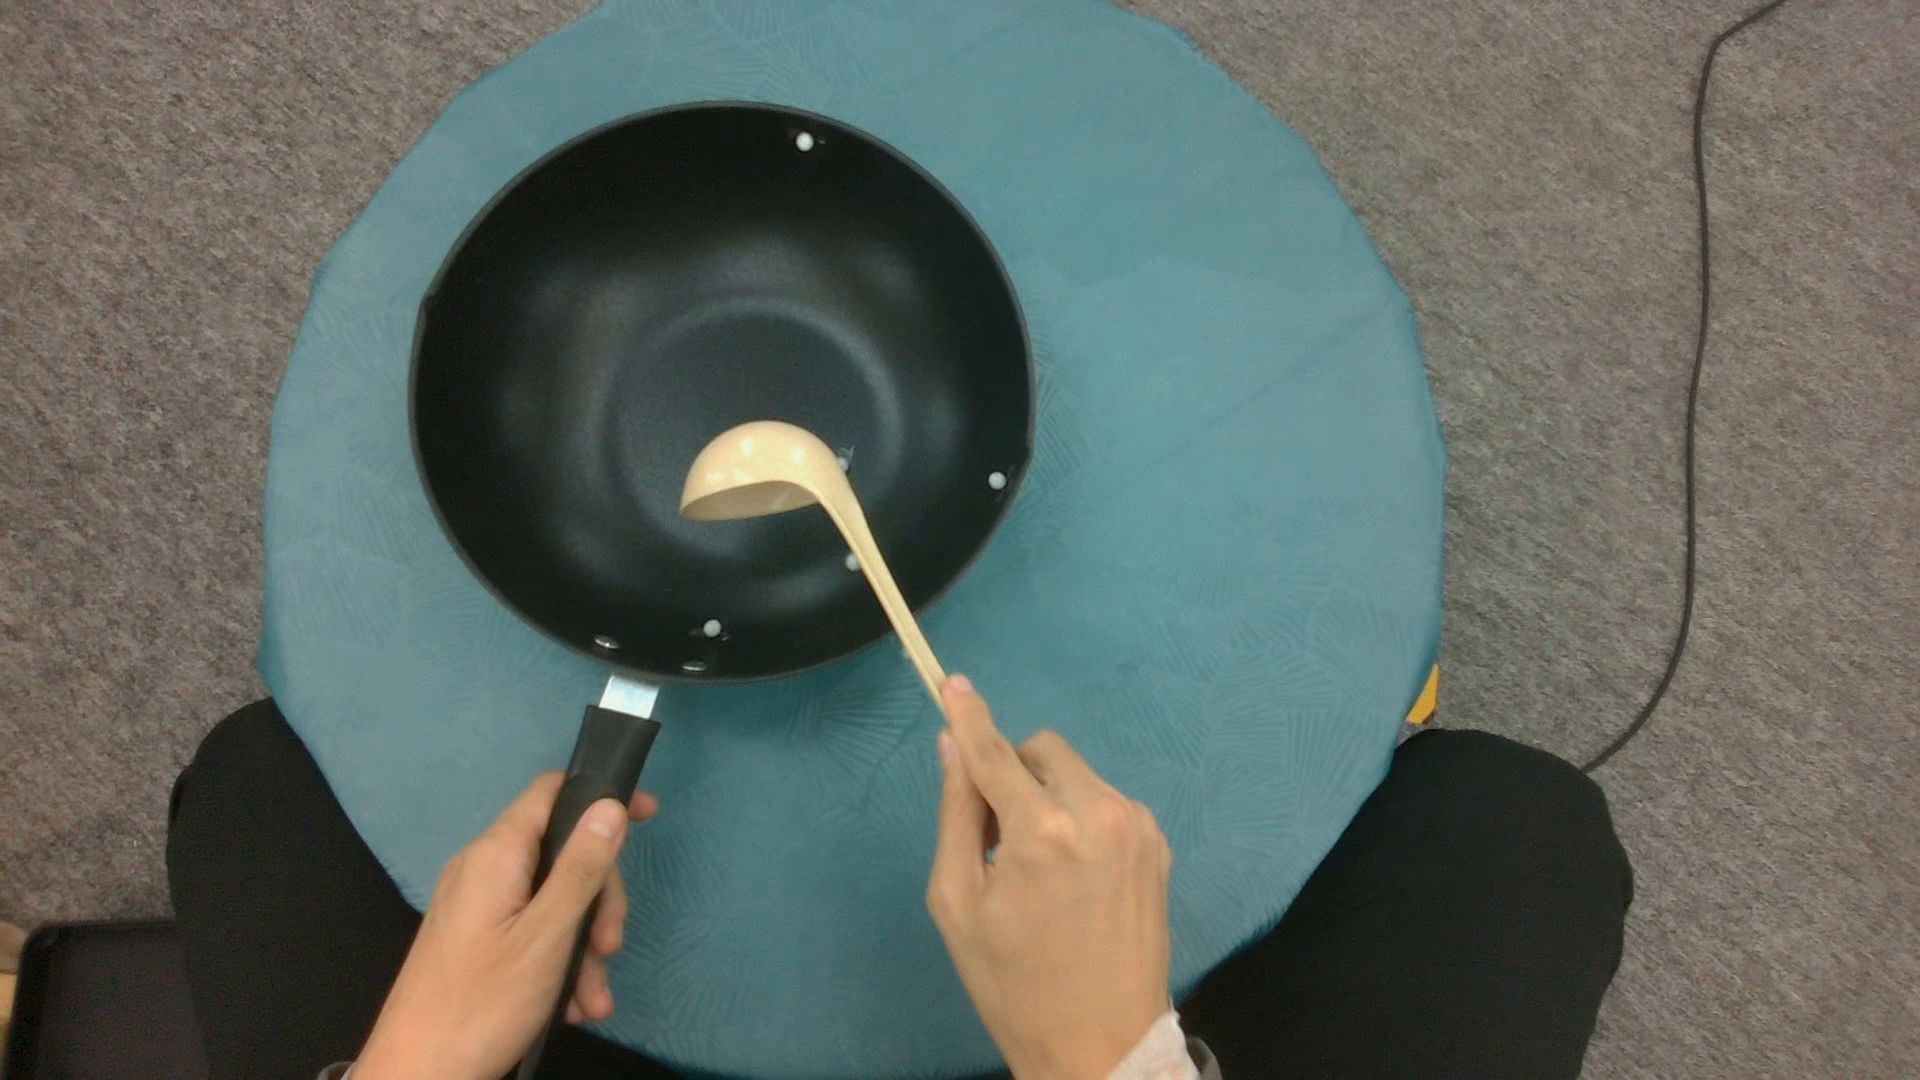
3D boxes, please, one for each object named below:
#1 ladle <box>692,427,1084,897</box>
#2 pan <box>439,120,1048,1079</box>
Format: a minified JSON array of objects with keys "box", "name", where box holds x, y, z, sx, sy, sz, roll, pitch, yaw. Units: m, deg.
[{"box":[-0.038,0.058,0.588,0.072,0.072,0.255,-43,63,25],"name":"ladle"},{"box":[-0.125,0.025,0.659,0.288,0.086,0.464,15,77,2],"name":"pan"}]
